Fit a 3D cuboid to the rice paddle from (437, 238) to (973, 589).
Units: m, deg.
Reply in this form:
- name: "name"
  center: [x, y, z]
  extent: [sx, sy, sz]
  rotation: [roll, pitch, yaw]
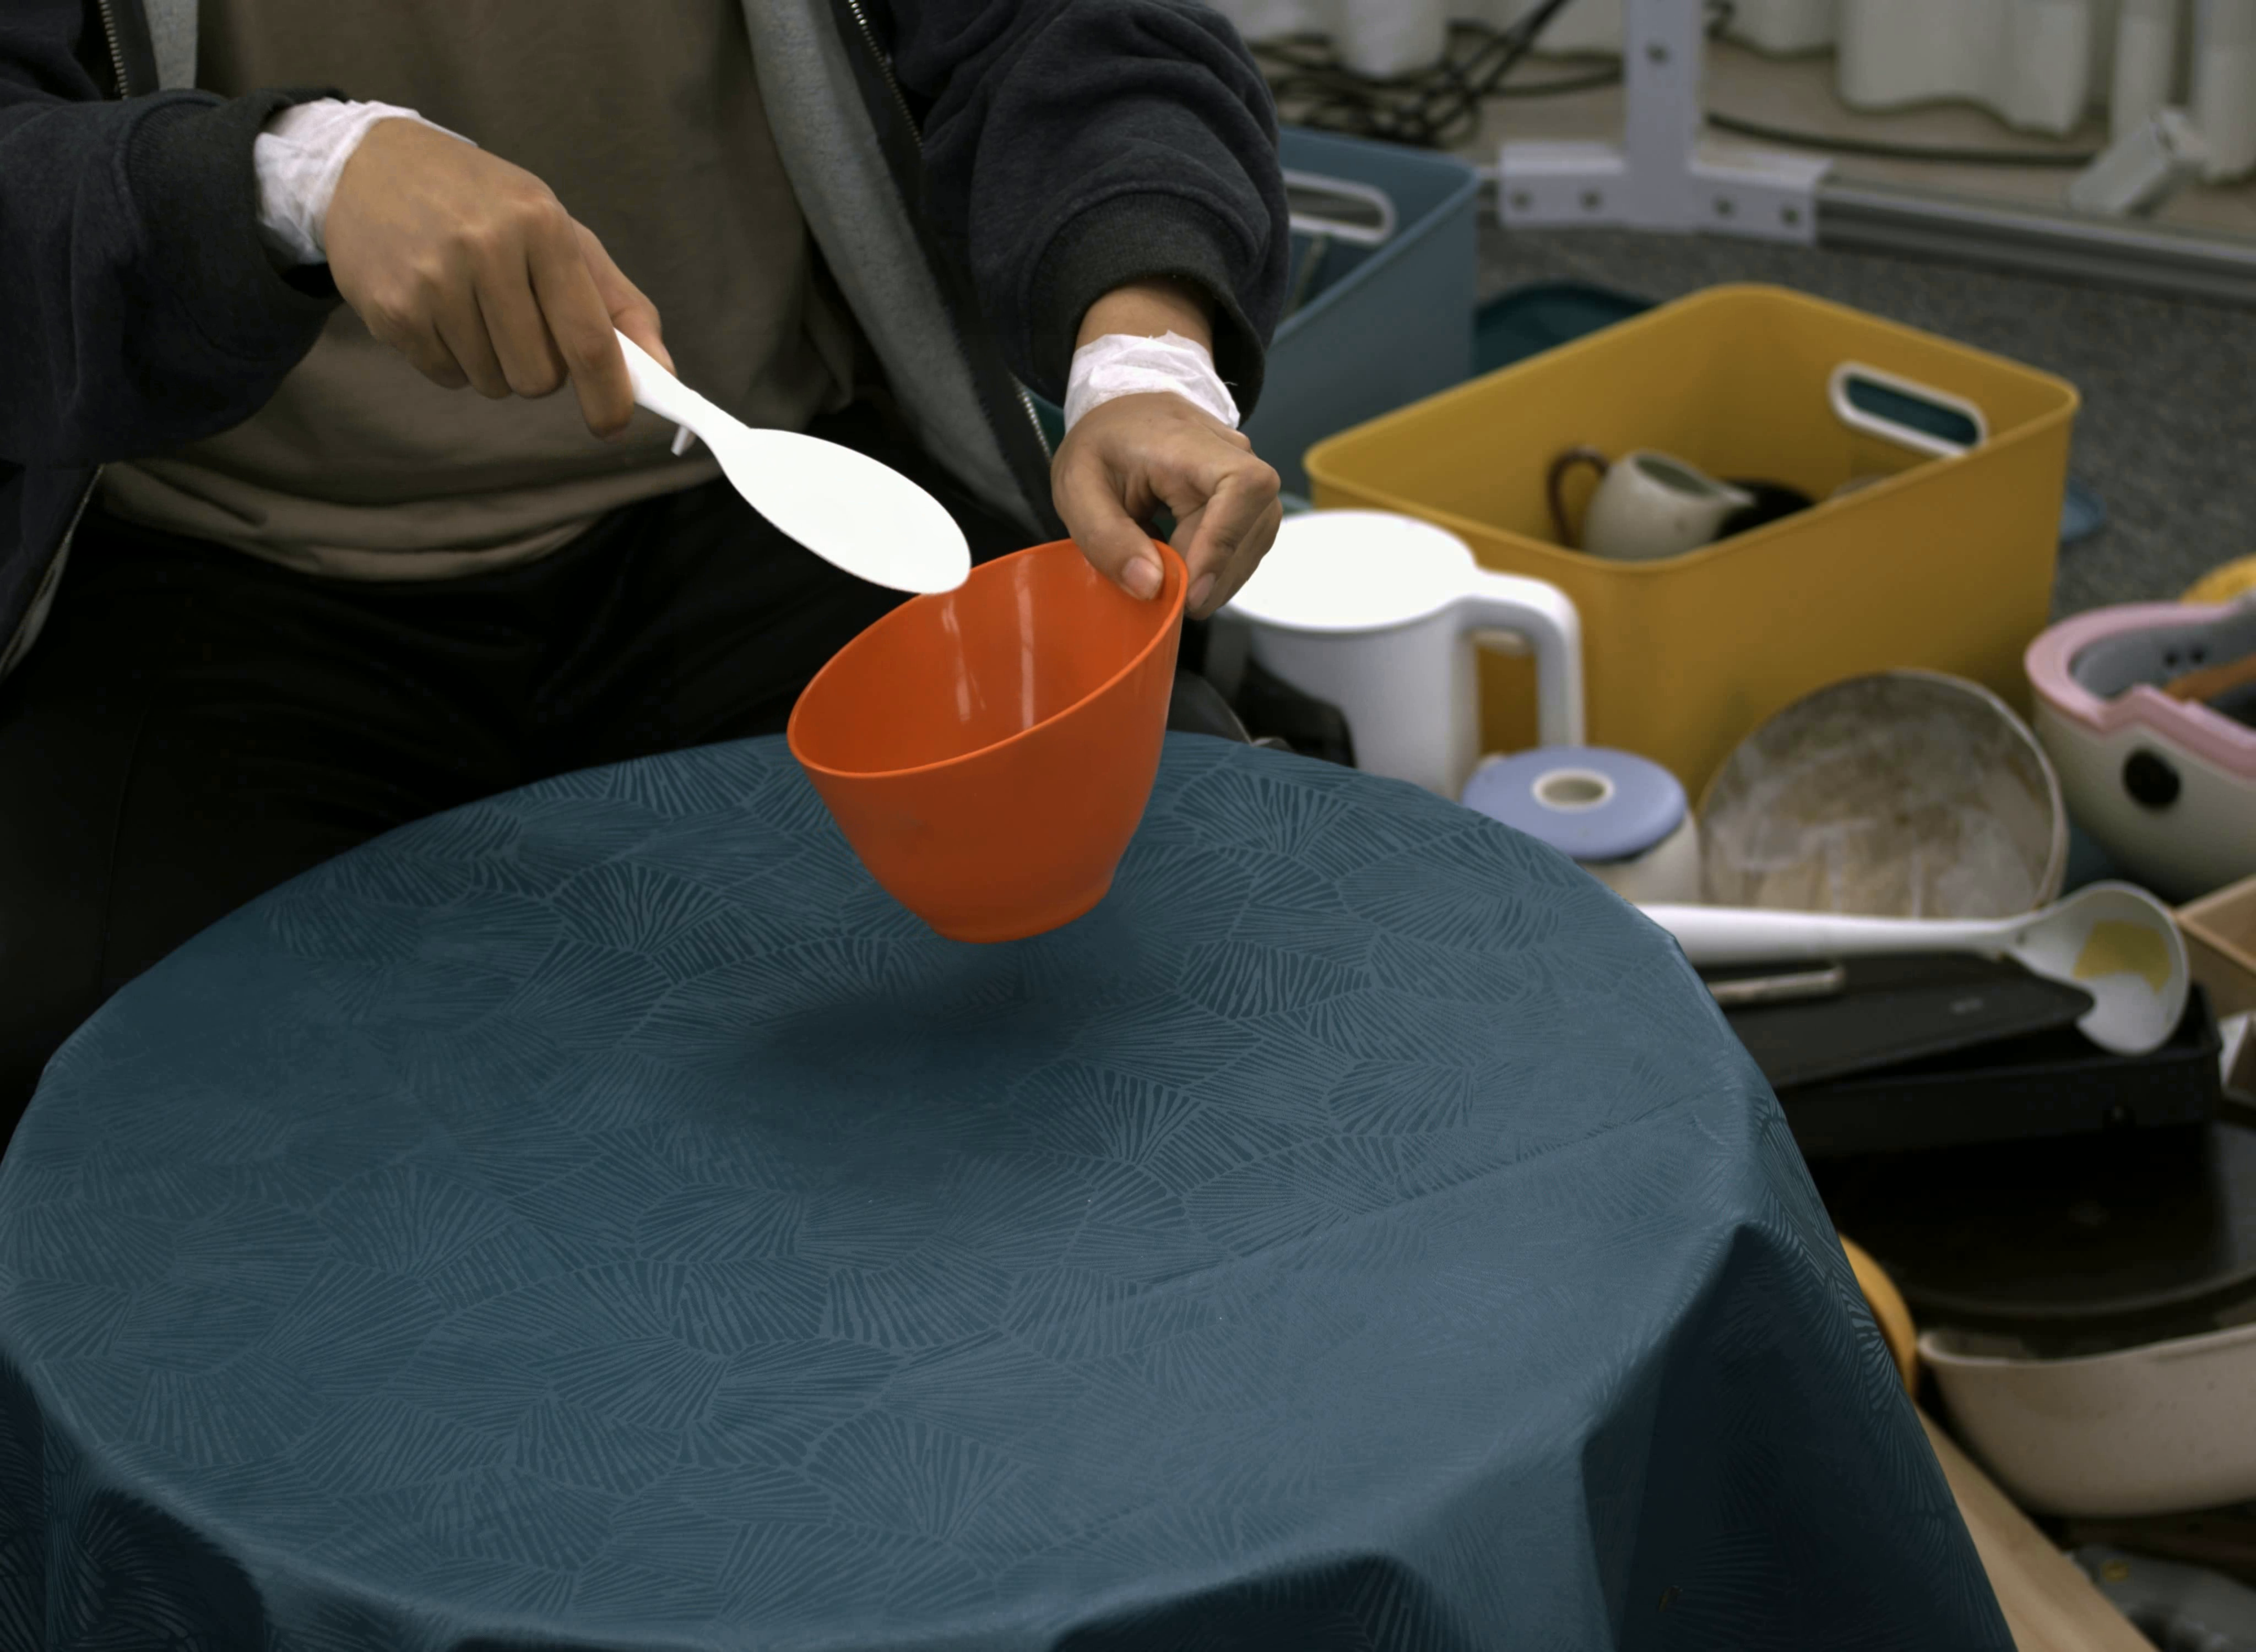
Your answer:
- name: "rice paddle"
  center: [-0.141, -0.138, 1.927]
  extent: [0.205, 0.029, 0.070]
  rotation: [30, 35, 6]

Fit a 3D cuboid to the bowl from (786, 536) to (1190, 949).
- name: "bowl"
  center: [-0.039, -0.022, 1.933]
  extent: [0.147, 0.104, 0.150]
  rotation: [-12, 25, 6]
